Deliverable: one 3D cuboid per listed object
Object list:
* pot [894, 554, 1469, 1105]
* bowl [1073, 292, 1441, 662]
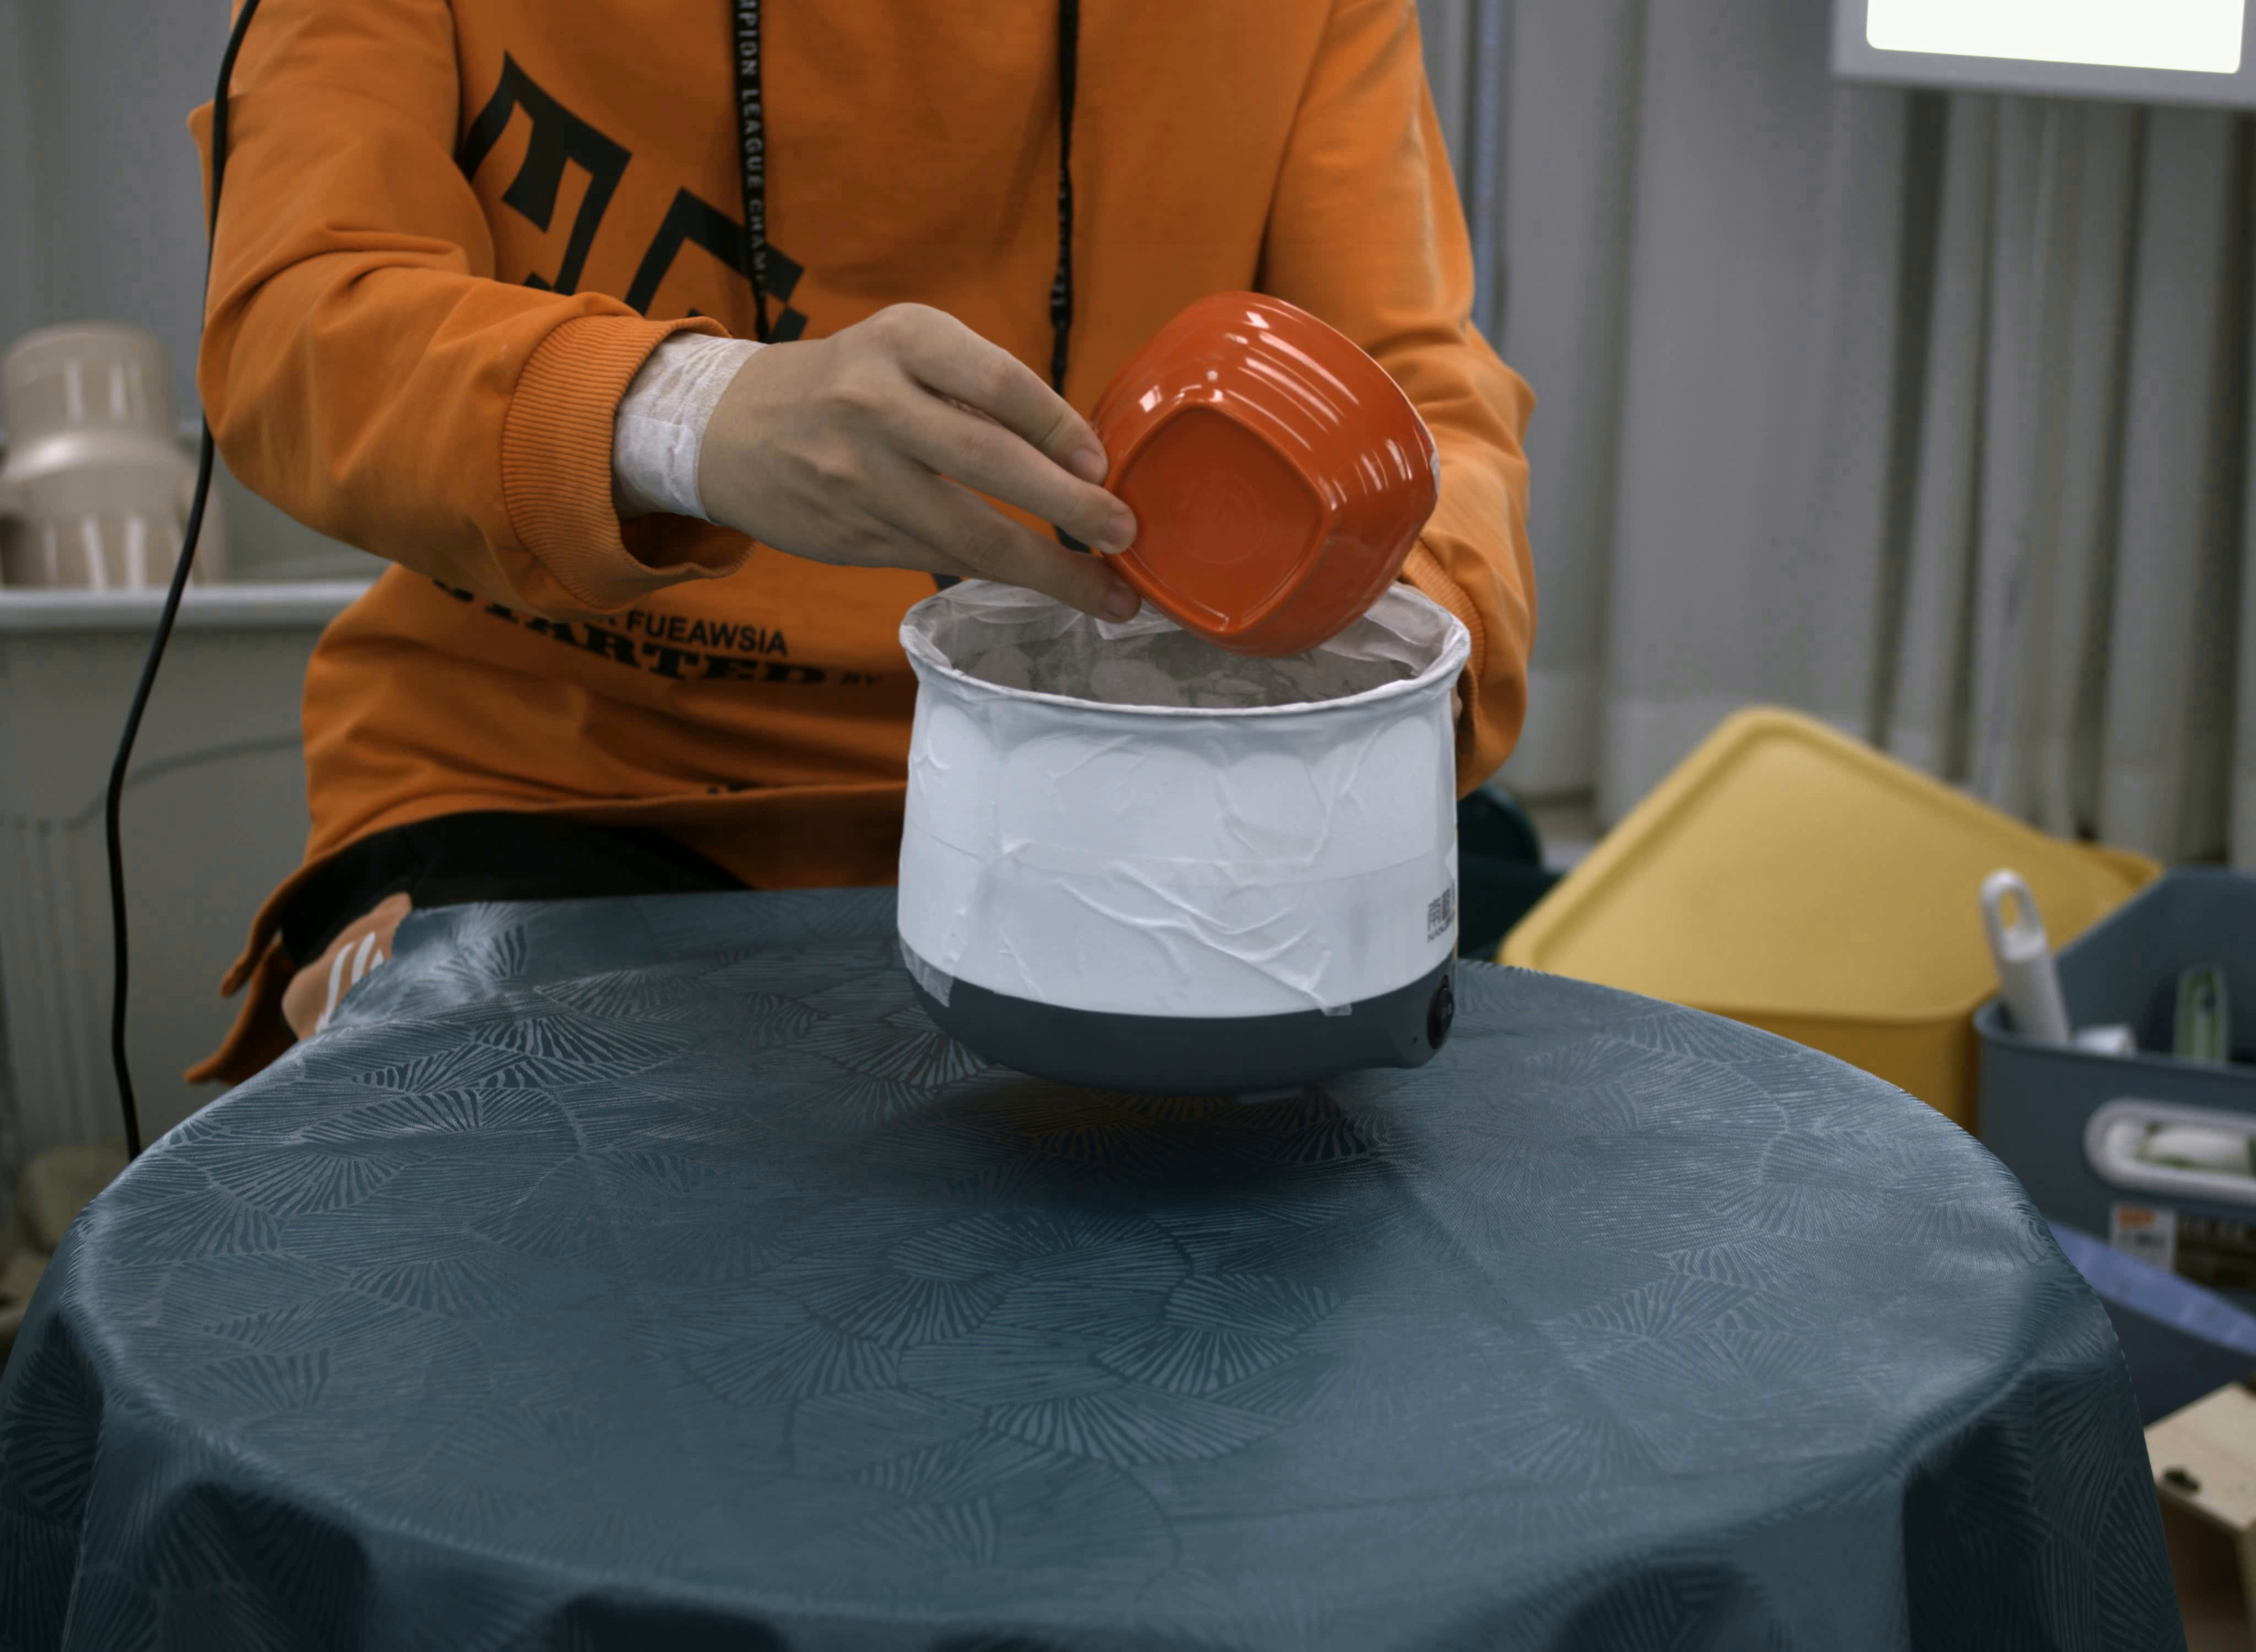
[{"bbox_3d":[0.024,-0.008,1.671,0.177,0.138,0.233,8,19,17],"label":"pot"},{"bbox_3d":[0.033,-0.101,1.625,0.118,0.120,0.051,6,24,17],"label":"bowl"}]
